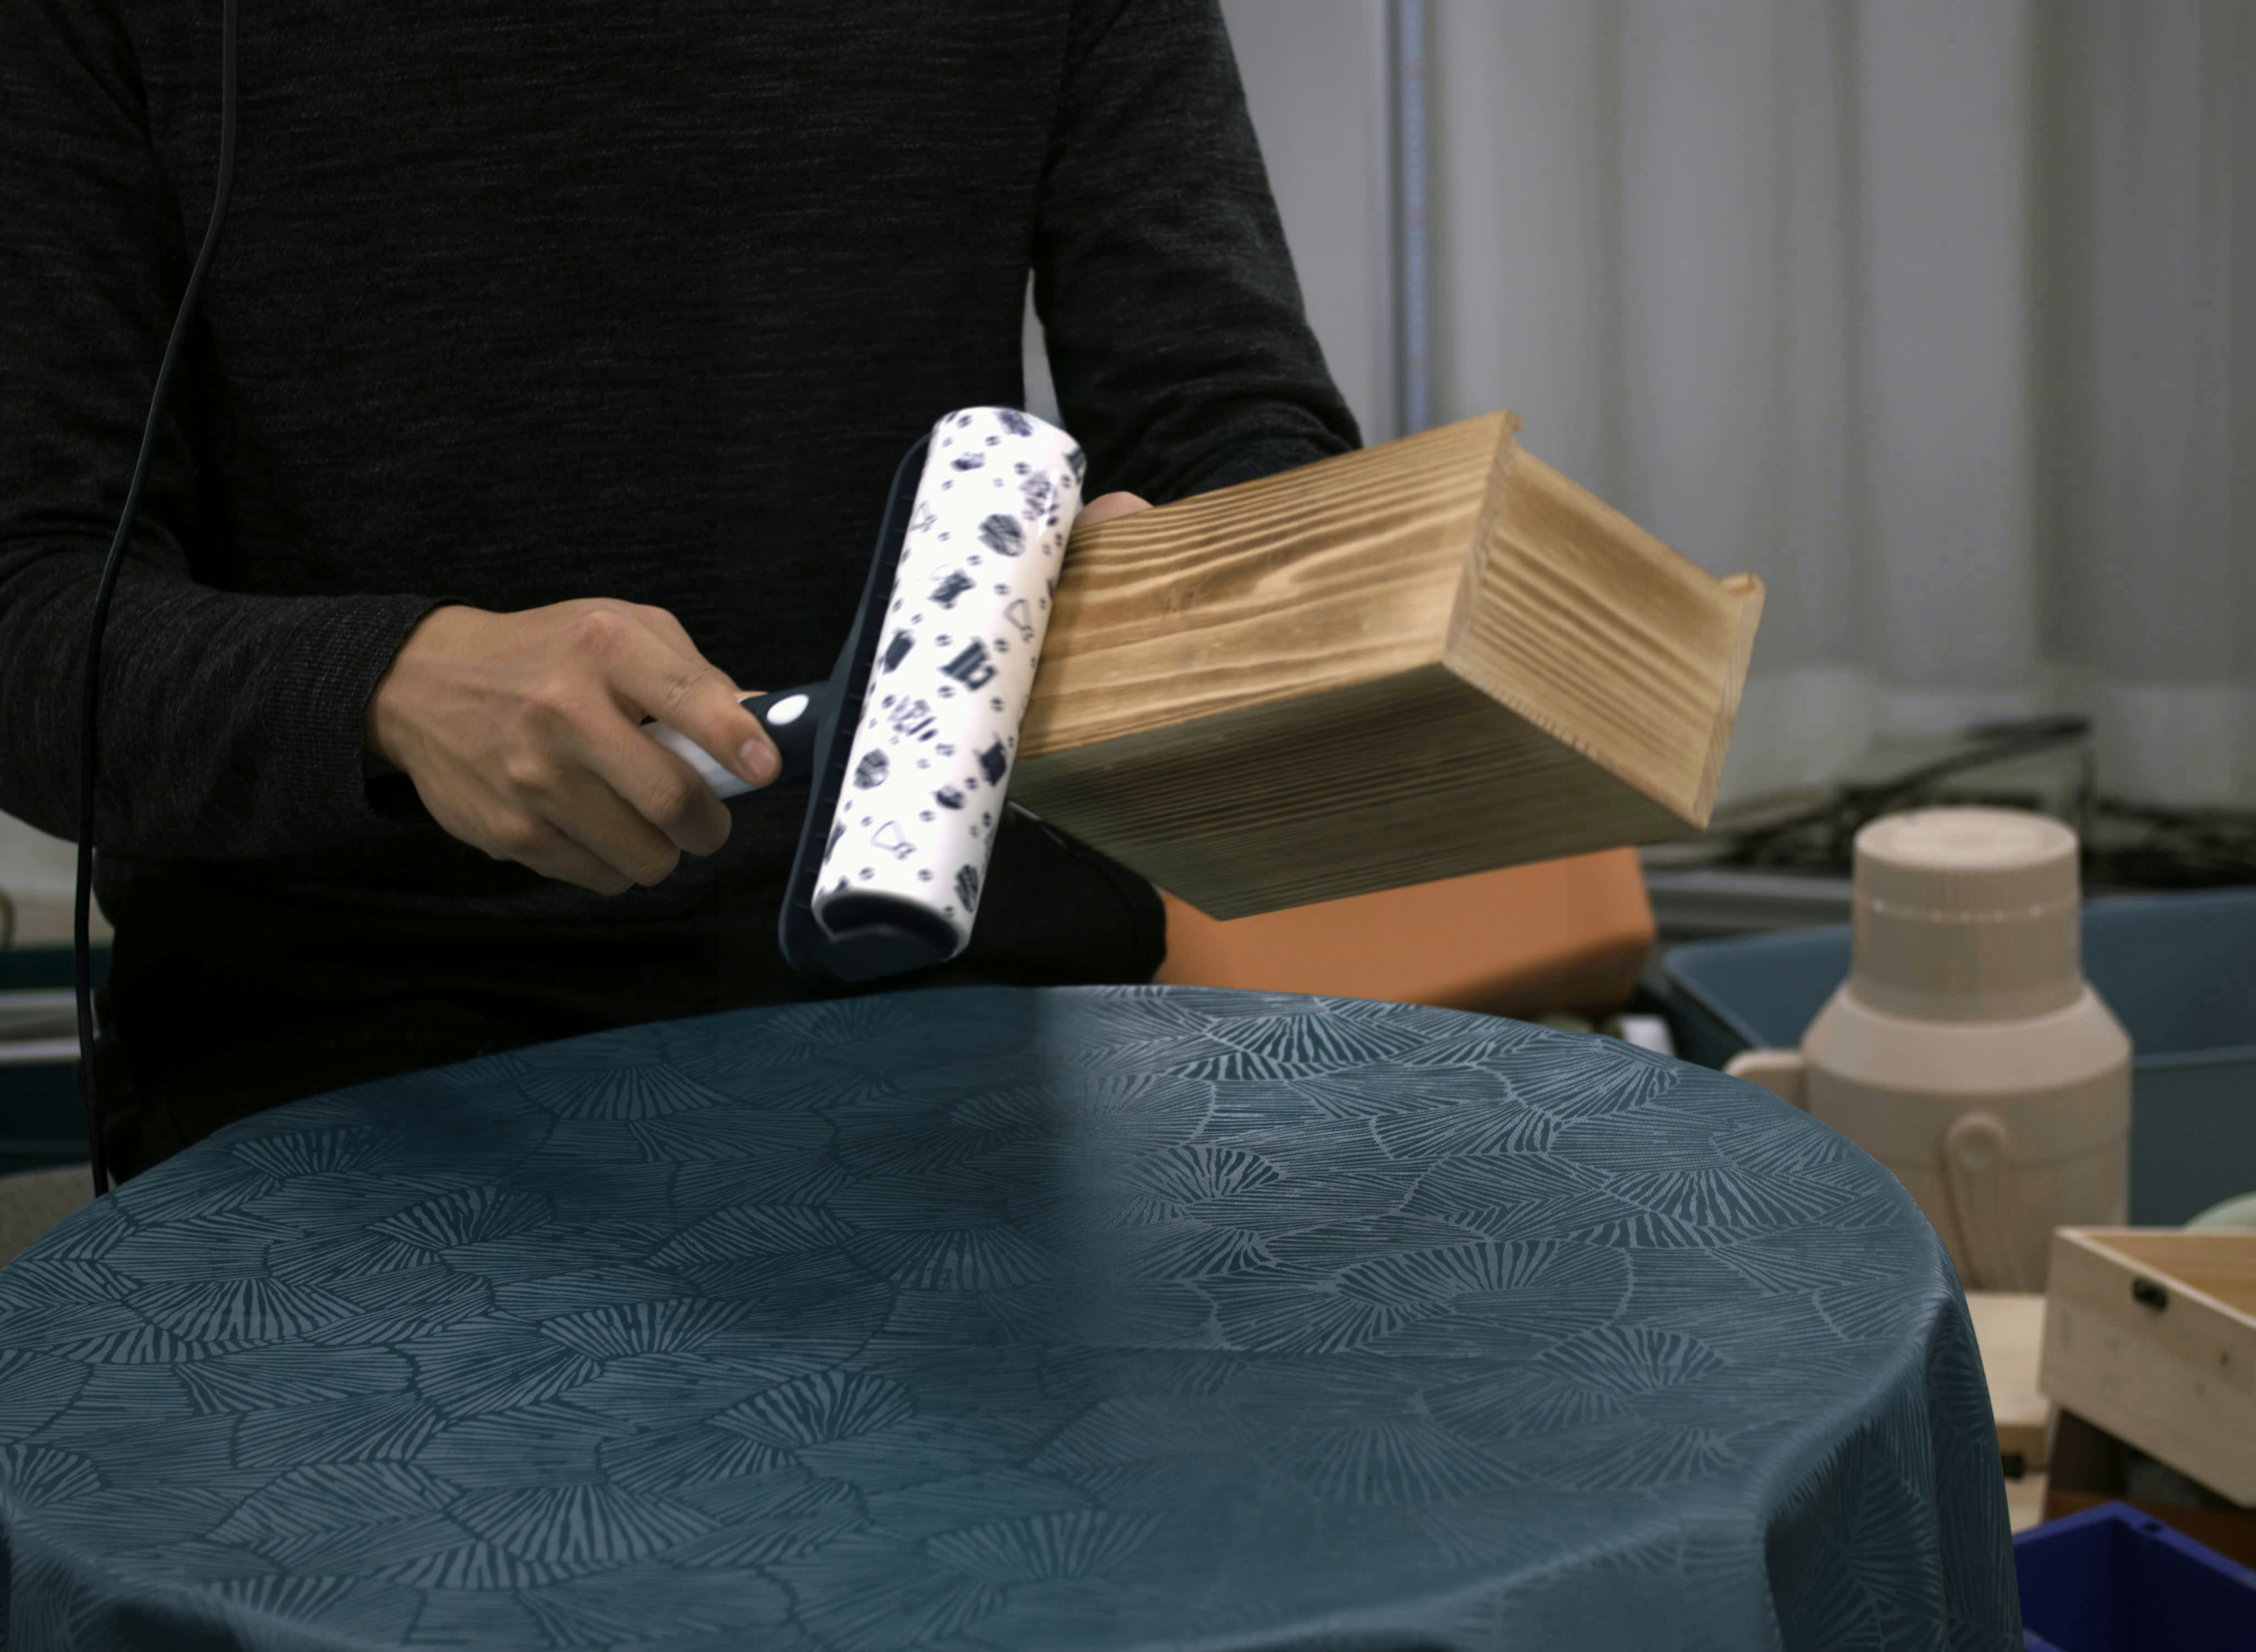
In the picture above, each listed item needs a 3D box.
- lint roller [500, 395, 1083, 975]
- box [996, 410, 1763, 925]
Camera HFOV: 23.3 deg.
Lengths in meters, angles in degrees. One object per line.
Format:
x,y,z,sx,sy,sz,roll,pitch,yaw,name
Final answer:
-0.119,-0.025,1.661,0.050,0.178,0.247,32,-31,-34,lint roller
0.064,-0.041,1.573,0.106,0.081,0.211,33,-27,-32,box
